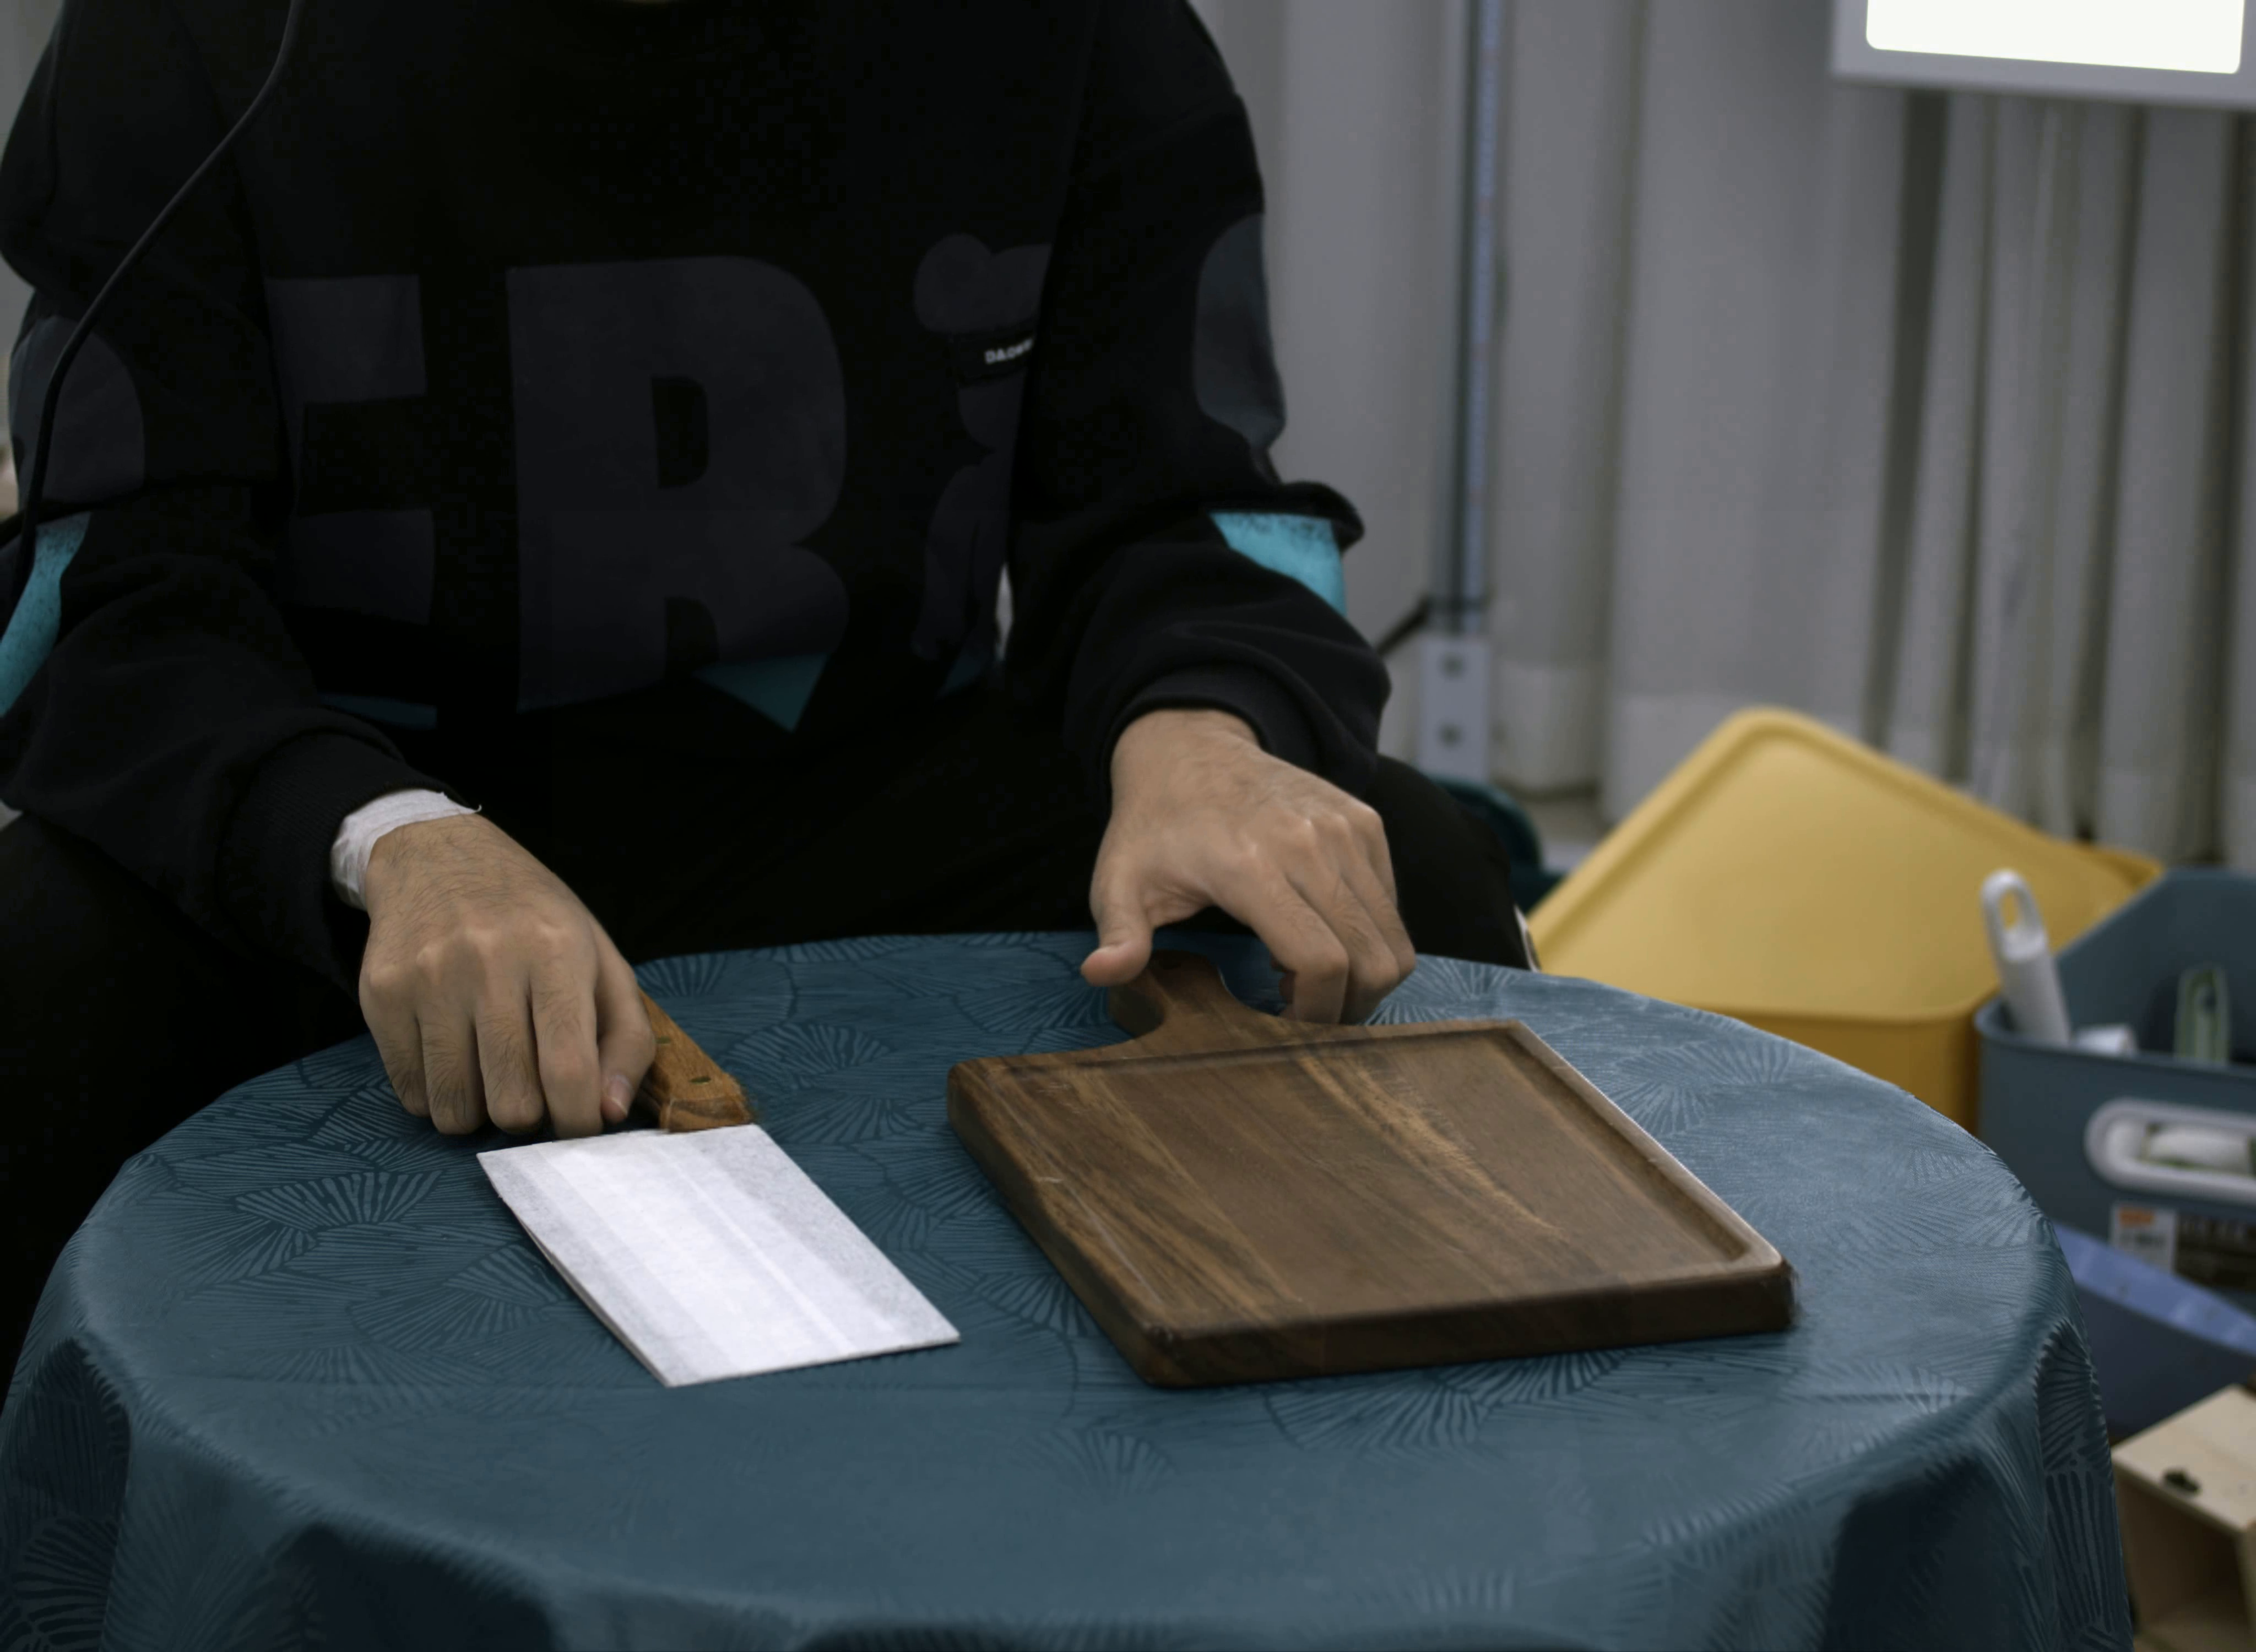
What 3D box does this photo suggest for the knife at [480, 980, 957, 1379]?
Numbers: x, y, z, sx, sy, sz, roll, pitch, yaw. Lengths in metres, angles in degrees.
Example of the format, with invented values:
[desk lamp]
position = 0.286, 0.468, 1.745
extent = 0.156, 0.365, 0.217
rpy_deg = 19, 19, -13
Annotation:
[knife]
position = -0.145, 0.107, 1.610
extent = 0.093, 0.021, 0.302
rpy_deg = -8, 20, -22

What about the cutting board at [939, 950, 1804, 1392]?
[cutting board]
position = 0.054, 0.097, 1.641
extent = 0.201, 0.023, 0.348
rpy_deg = -4, 16, -16
